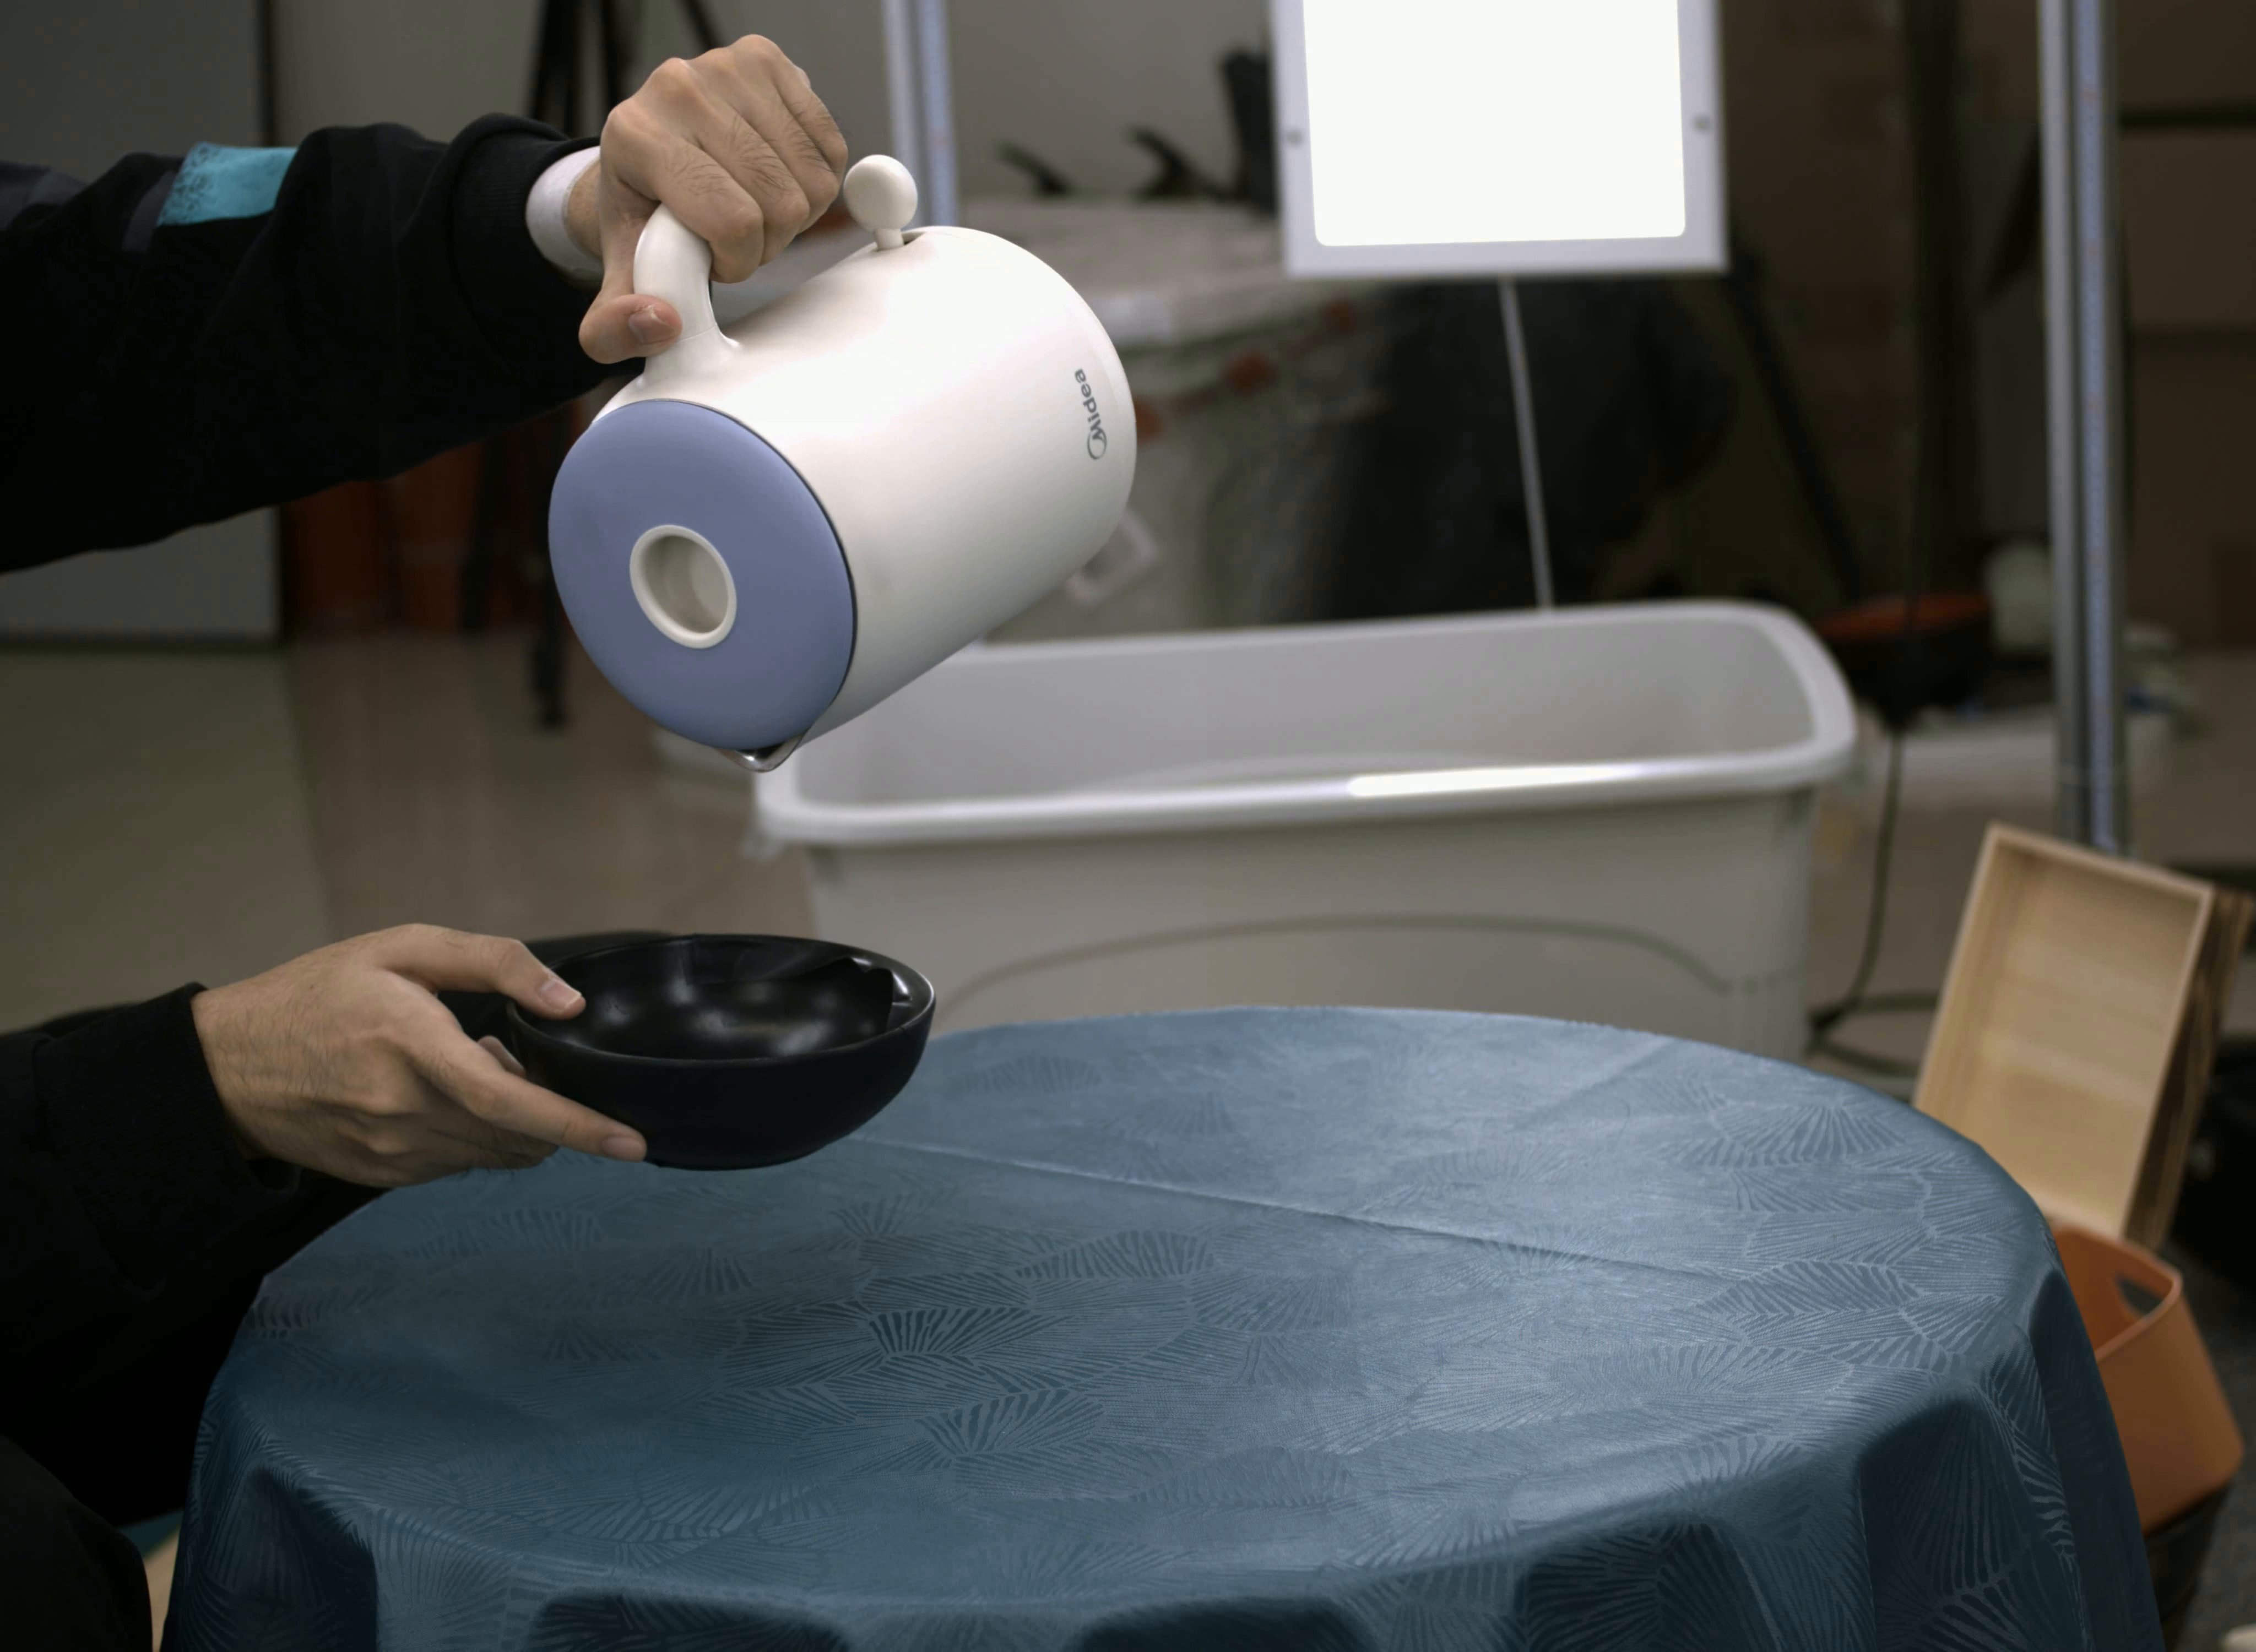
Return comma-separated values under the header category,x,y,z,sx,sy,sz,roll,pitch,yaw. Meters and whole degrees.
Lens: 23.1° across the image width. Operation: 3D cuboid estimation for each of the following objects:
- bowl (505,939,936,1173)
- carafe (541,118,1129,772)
category,x,y,z,sx,sy,sz,roll,pitch,yaw
bowl,-0.130,0.078,1.780,0.139,0.050,0.140,-3,14,-1
carafe,-0.102,-0.134,1.801,0.135,0.191,0.178,-6,17,37
